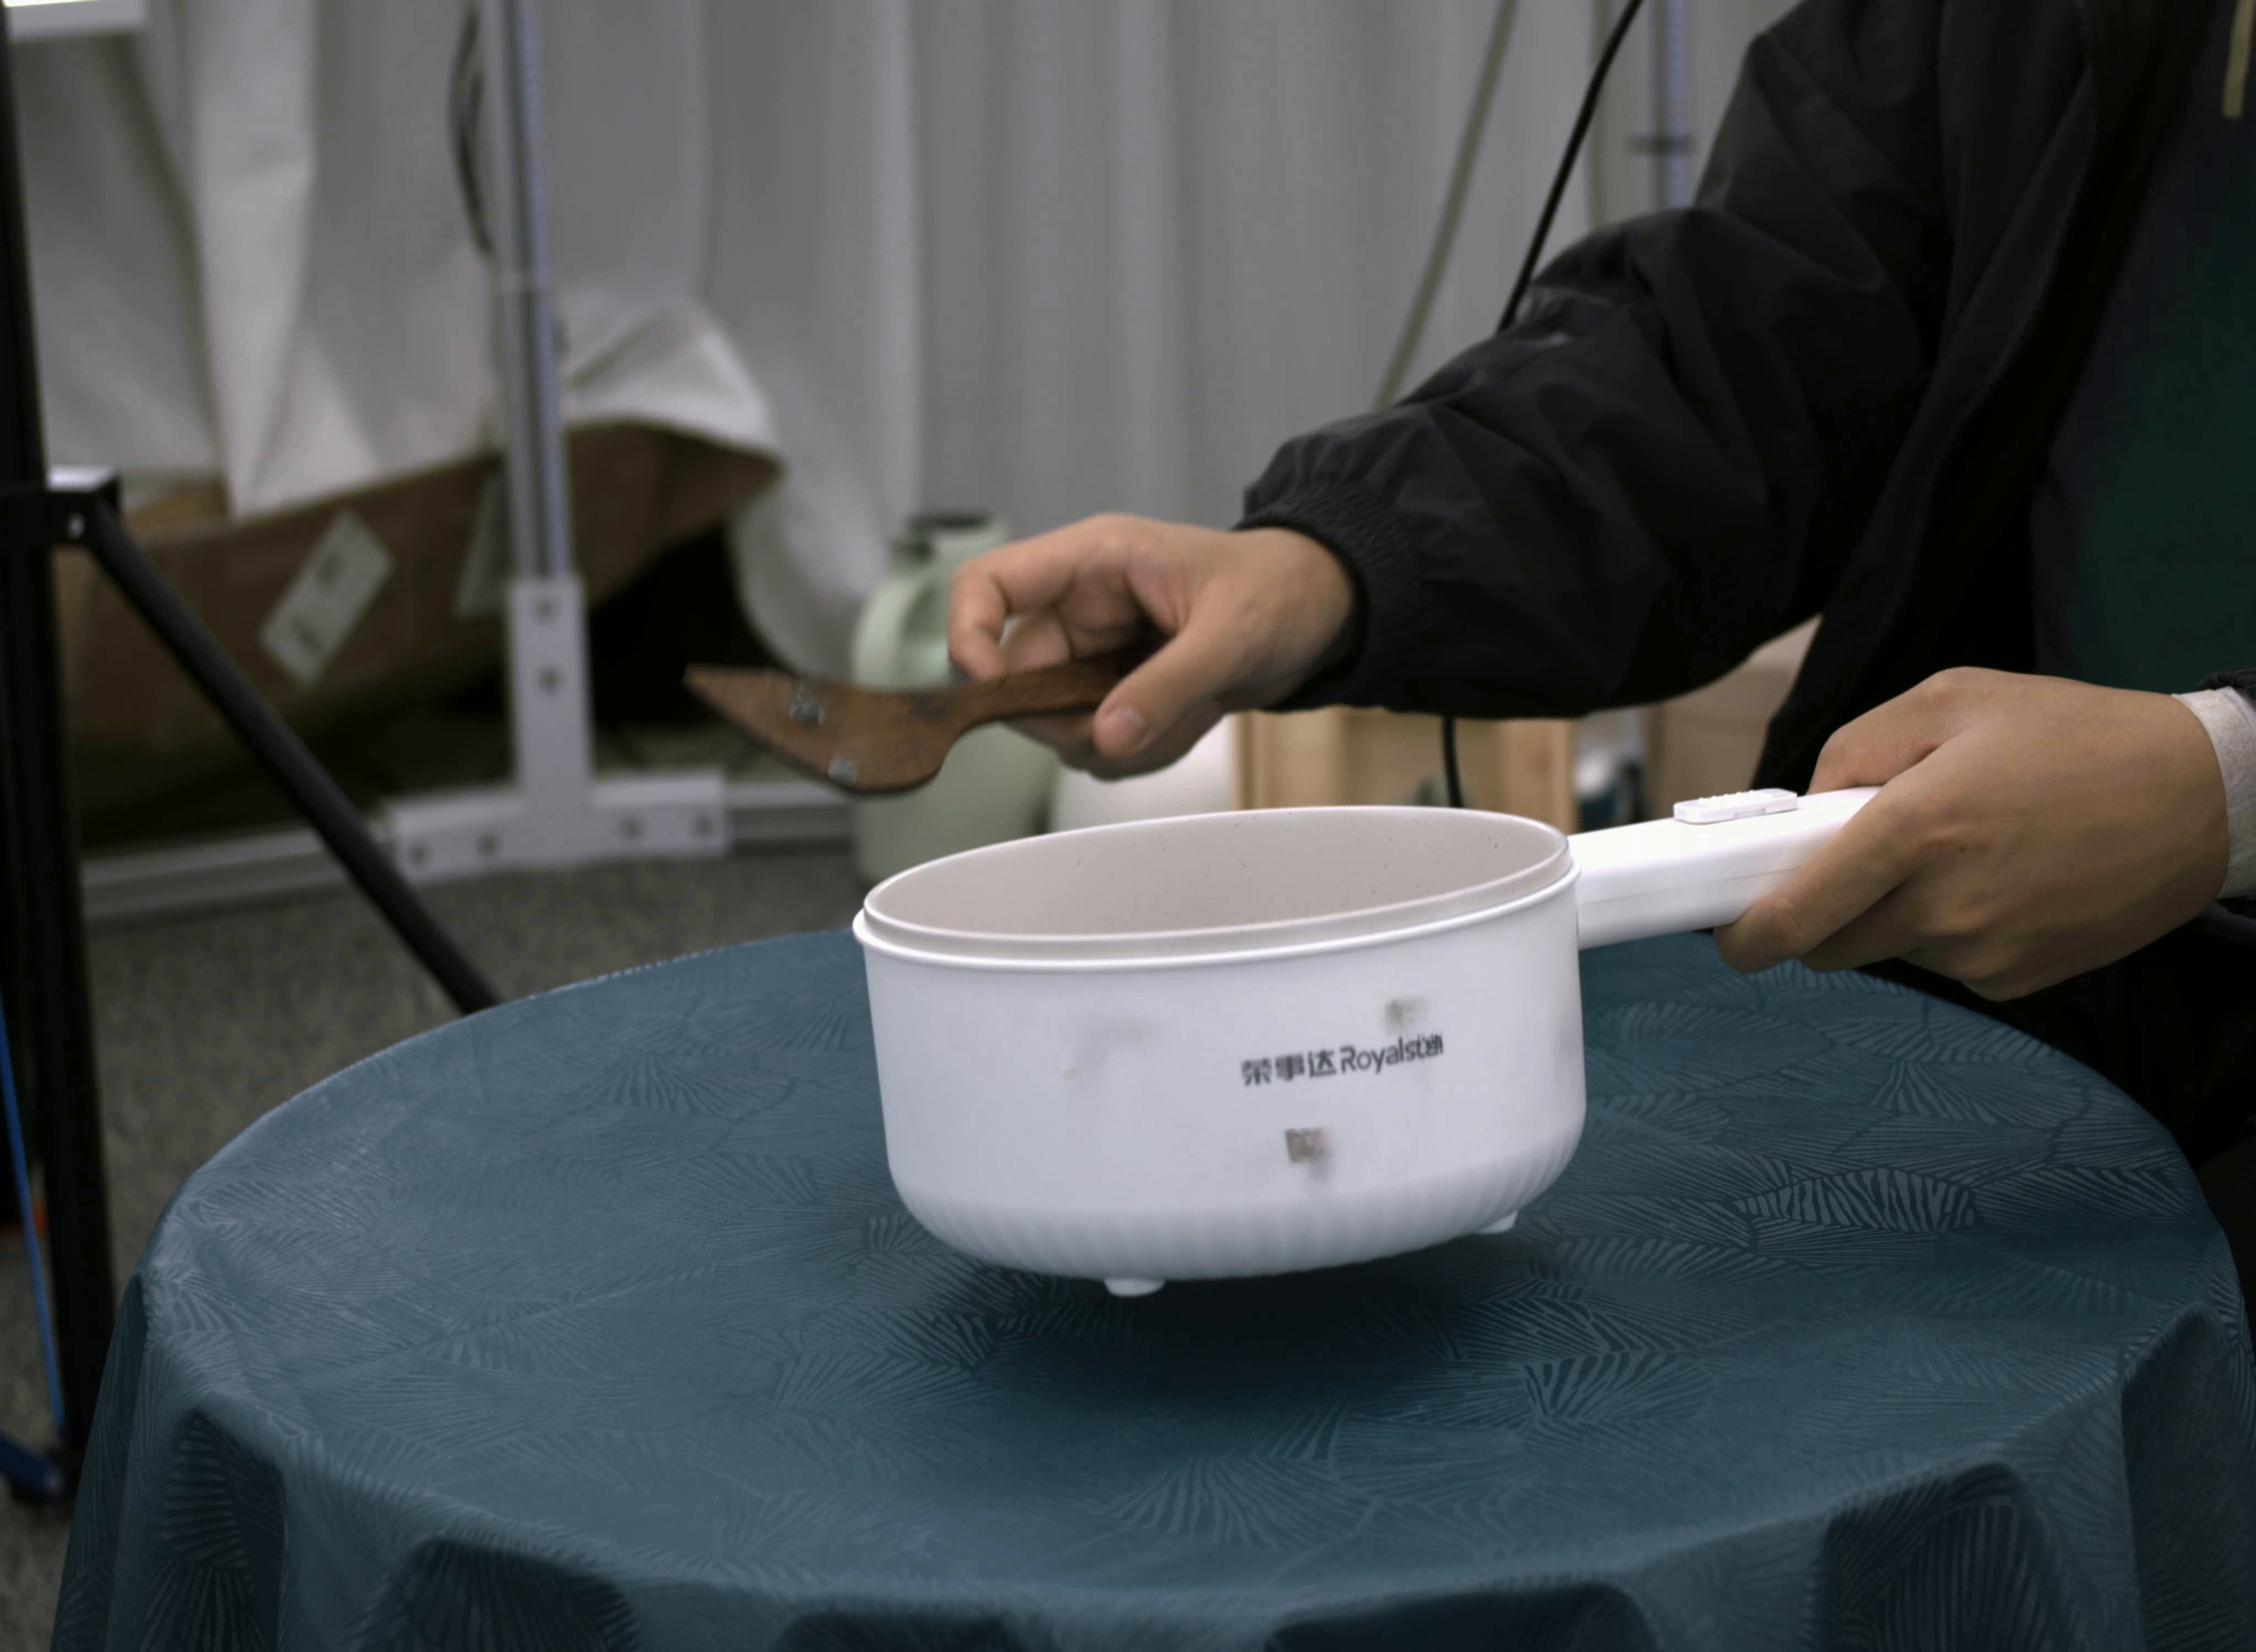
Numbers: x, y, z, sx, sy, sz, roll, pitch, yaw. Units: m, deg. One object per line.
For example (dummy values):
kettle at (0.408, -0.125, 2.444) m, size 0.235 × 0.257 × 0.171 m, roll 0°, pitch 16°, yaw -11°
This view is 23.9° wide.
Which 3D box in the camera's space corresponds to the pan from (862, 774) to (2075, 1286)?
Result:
pan at (0.101, 0.052, 1.485) m, size 0.348 × 0.102 × 0.204 m, roll -6°, pitch 8°, yaw -18°

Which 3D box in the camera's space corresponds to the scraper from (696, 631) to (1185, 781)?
scraper at (-0.050, -0.042, 1.679) m, size 0.077 × 0.011 × 0.206 m, roll 38°, pitch 26°, yaw 28°
